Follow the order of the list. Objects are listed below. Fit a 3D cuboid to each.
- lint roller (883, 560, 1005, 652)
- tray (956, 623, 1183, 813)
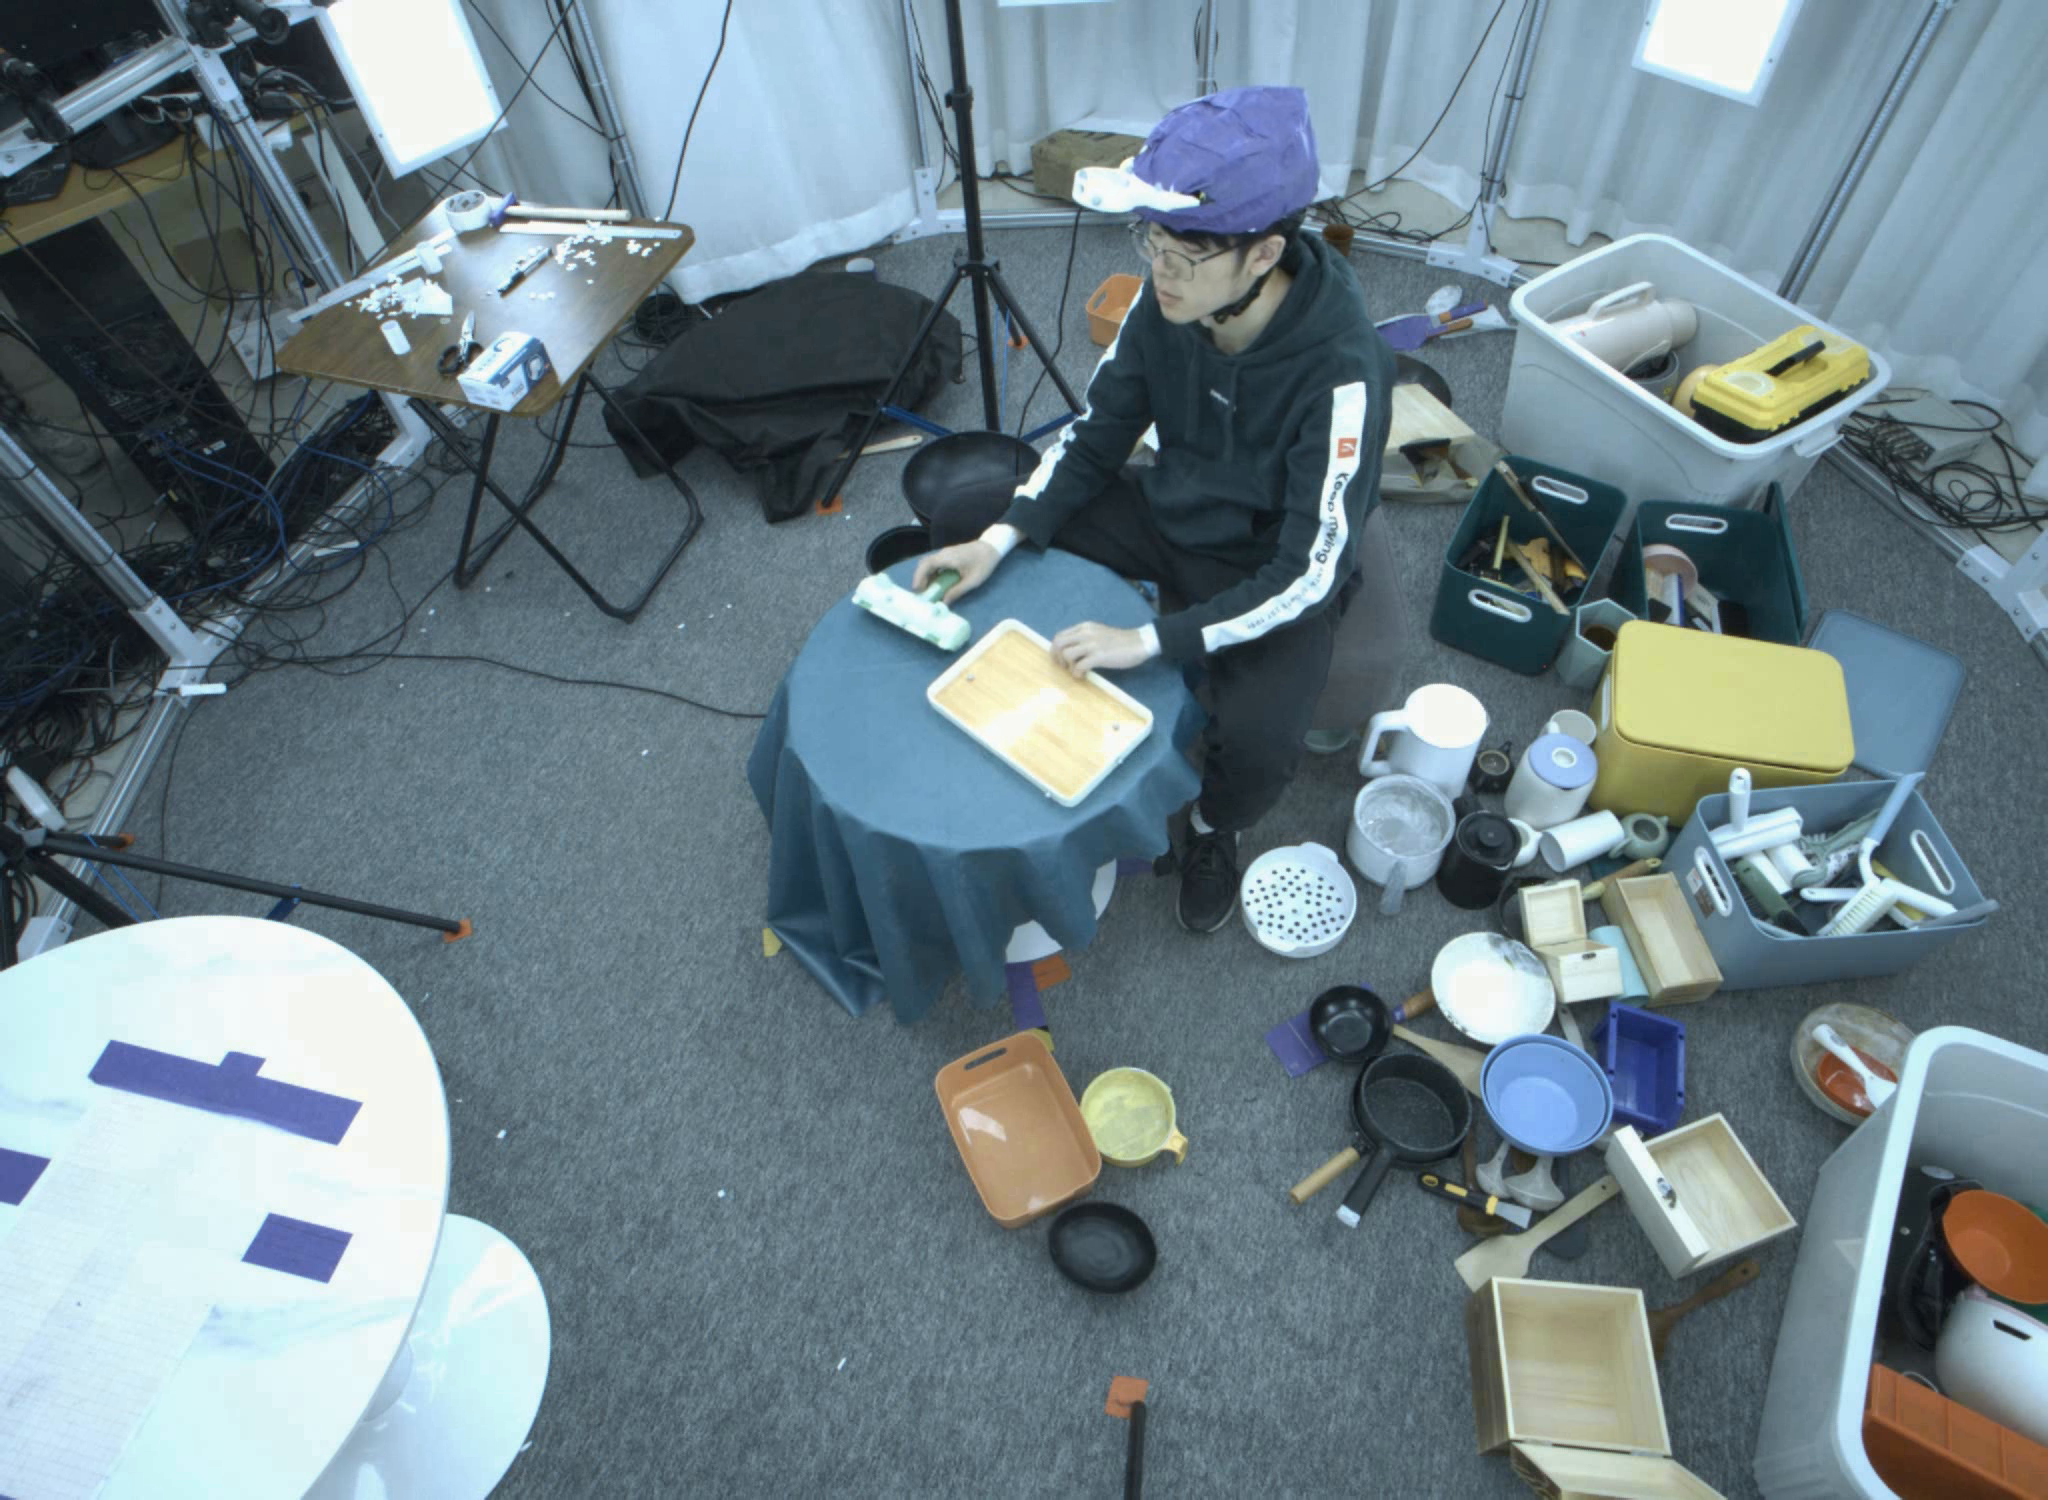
[{"bbox_3d":[-0.094,-0.256,1.919,0.195,0.083,0.184,30,66,22],"label":"lint roller"},{"bbox_3d":[0.064,-0.052,1.794,0.295,0.028,0.193,39,68,25],"label":"tray"}]
